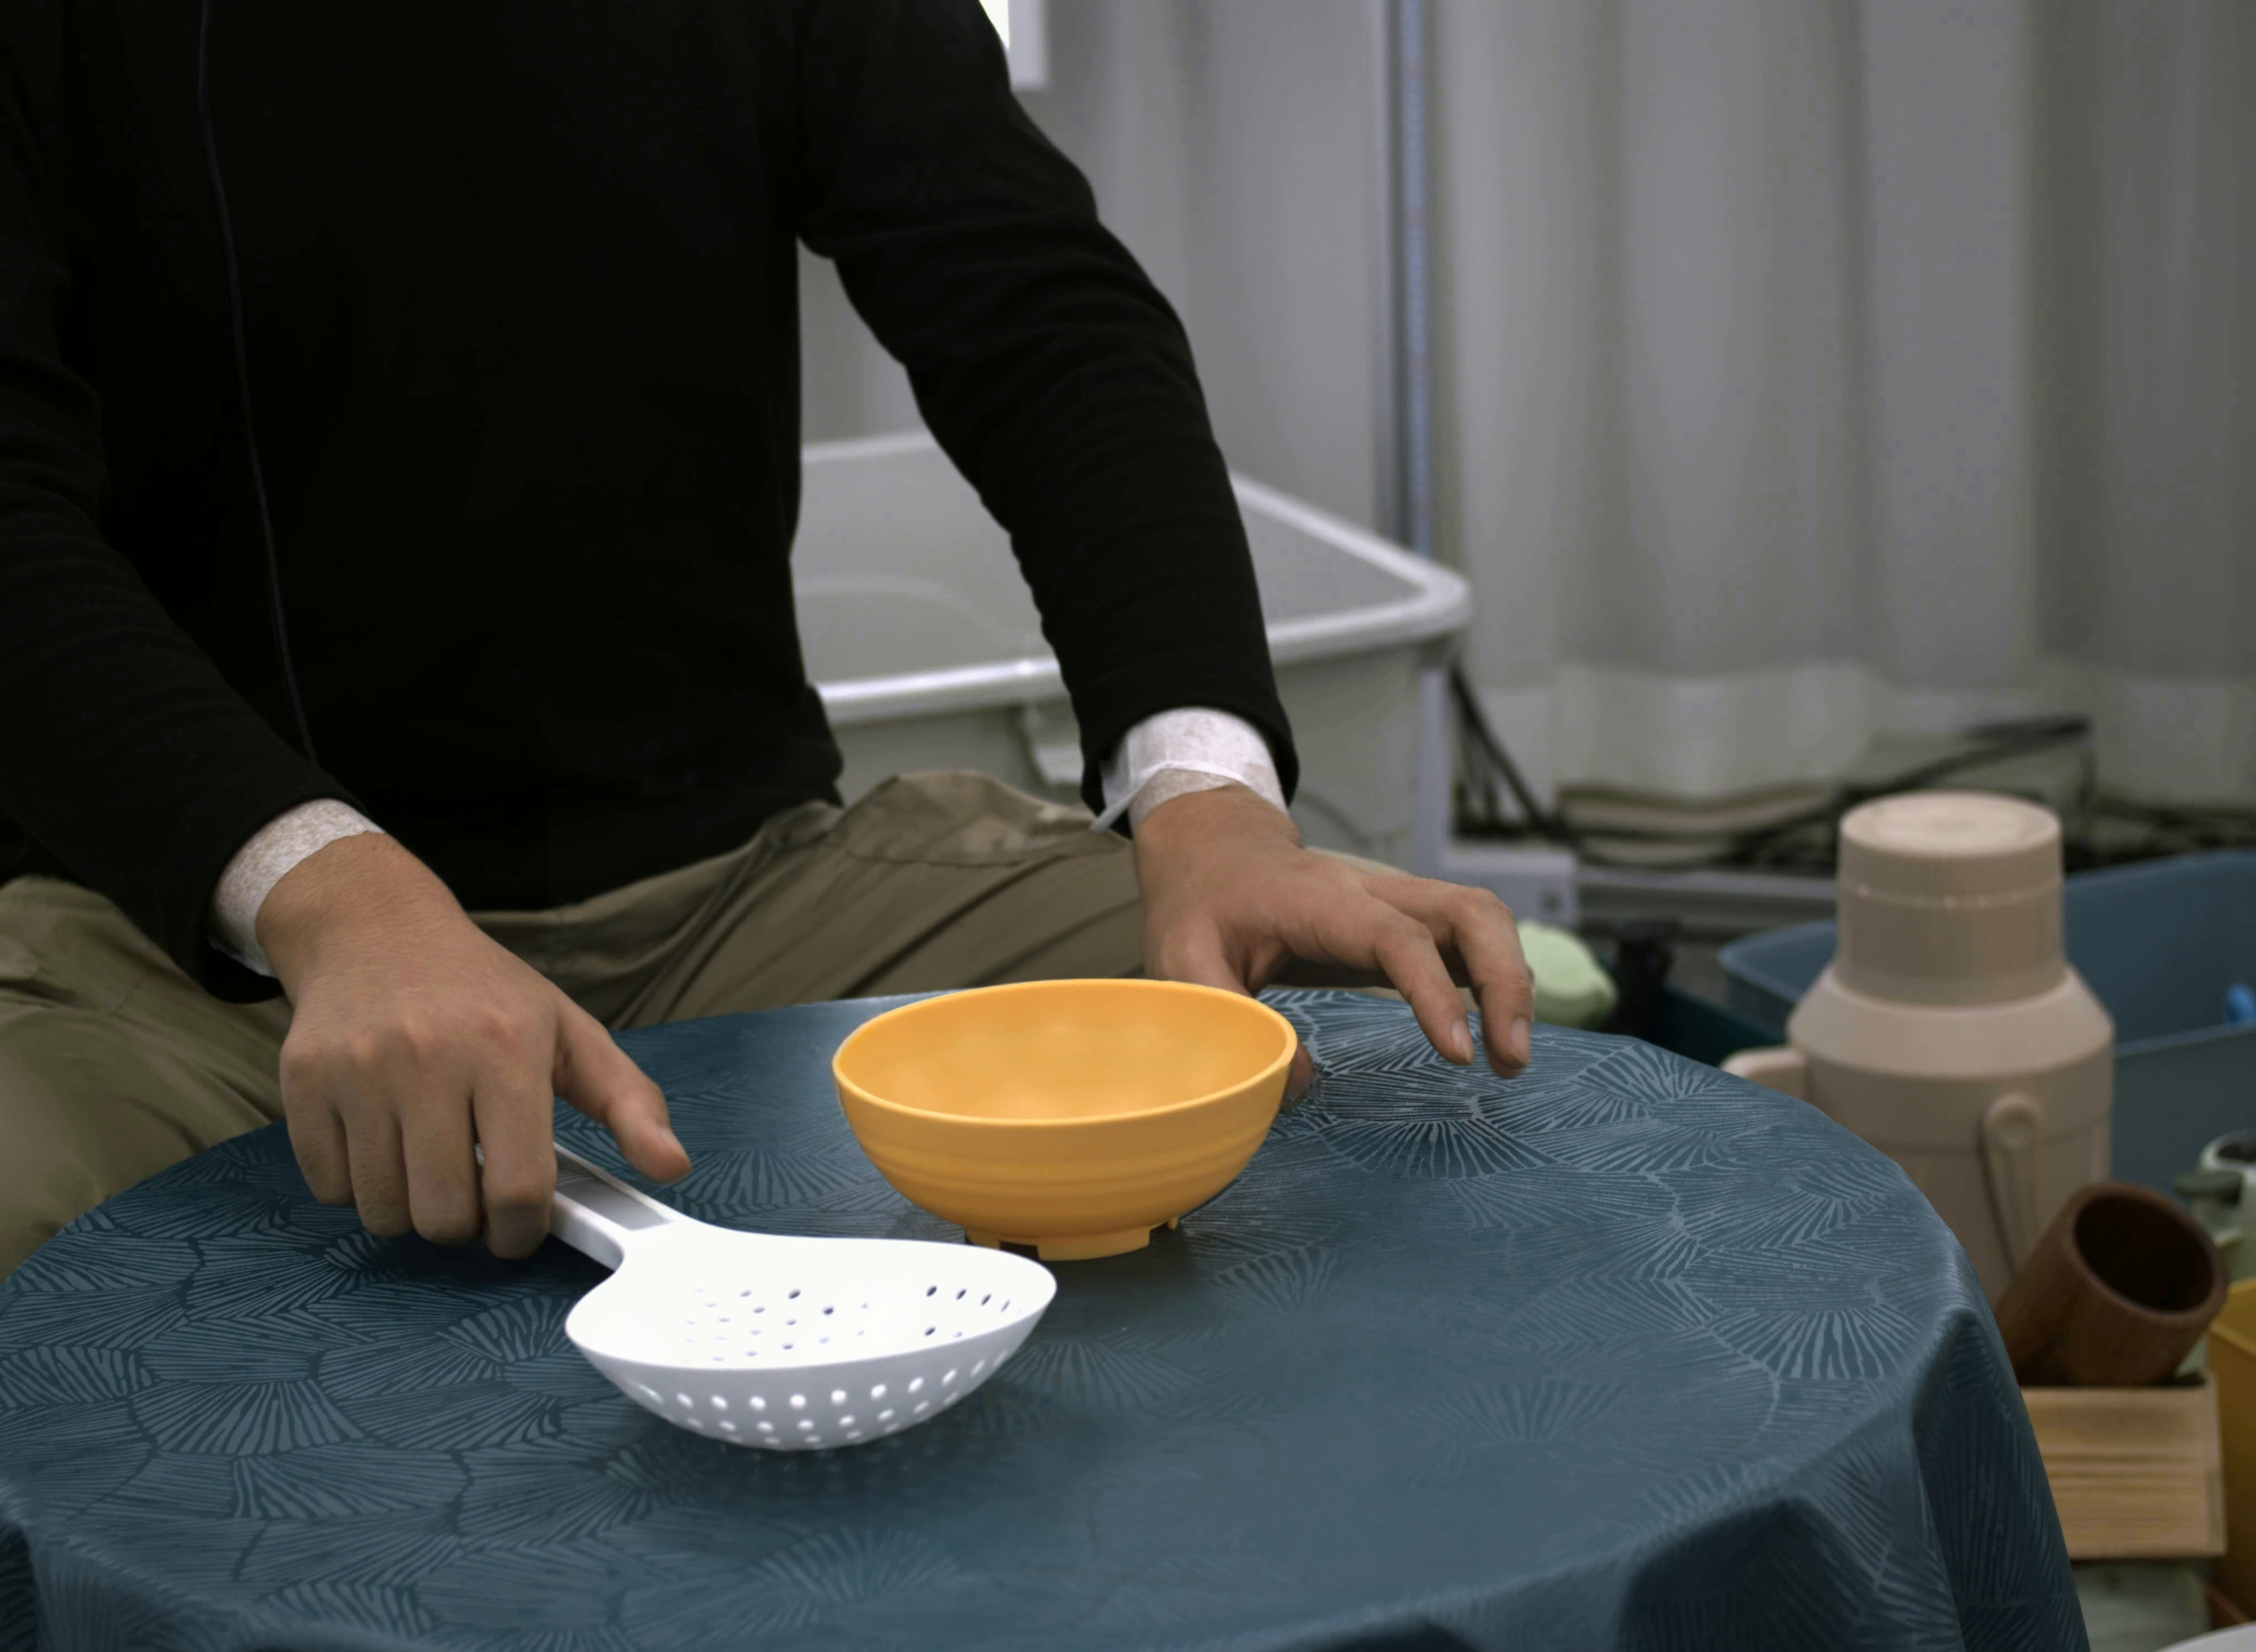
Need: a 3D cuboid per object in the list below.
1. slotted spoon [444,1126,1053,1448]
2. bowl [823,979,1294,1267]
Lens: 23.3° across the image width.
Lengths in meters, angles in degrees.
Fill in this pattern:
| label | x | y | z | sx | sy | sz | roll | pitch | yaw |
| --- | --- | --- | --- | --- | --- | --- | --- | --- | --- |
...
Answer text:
| label | x | y | z | sx | sy | sz | roll | pitch | yaw |
| --- | --- | --- | --- | --- | --- | --- | --- | --- | --- |
| slotted spoon | -0.135 | 0.126 | 1.610 | 0.135 | 0.045 | 0.352 | -8 | 15 | -25 |
| bowl | -0.021 | 0.097 | 1.679 | 0.145 | 0.060 | 0.146 | -1 | 15 | 0 |
